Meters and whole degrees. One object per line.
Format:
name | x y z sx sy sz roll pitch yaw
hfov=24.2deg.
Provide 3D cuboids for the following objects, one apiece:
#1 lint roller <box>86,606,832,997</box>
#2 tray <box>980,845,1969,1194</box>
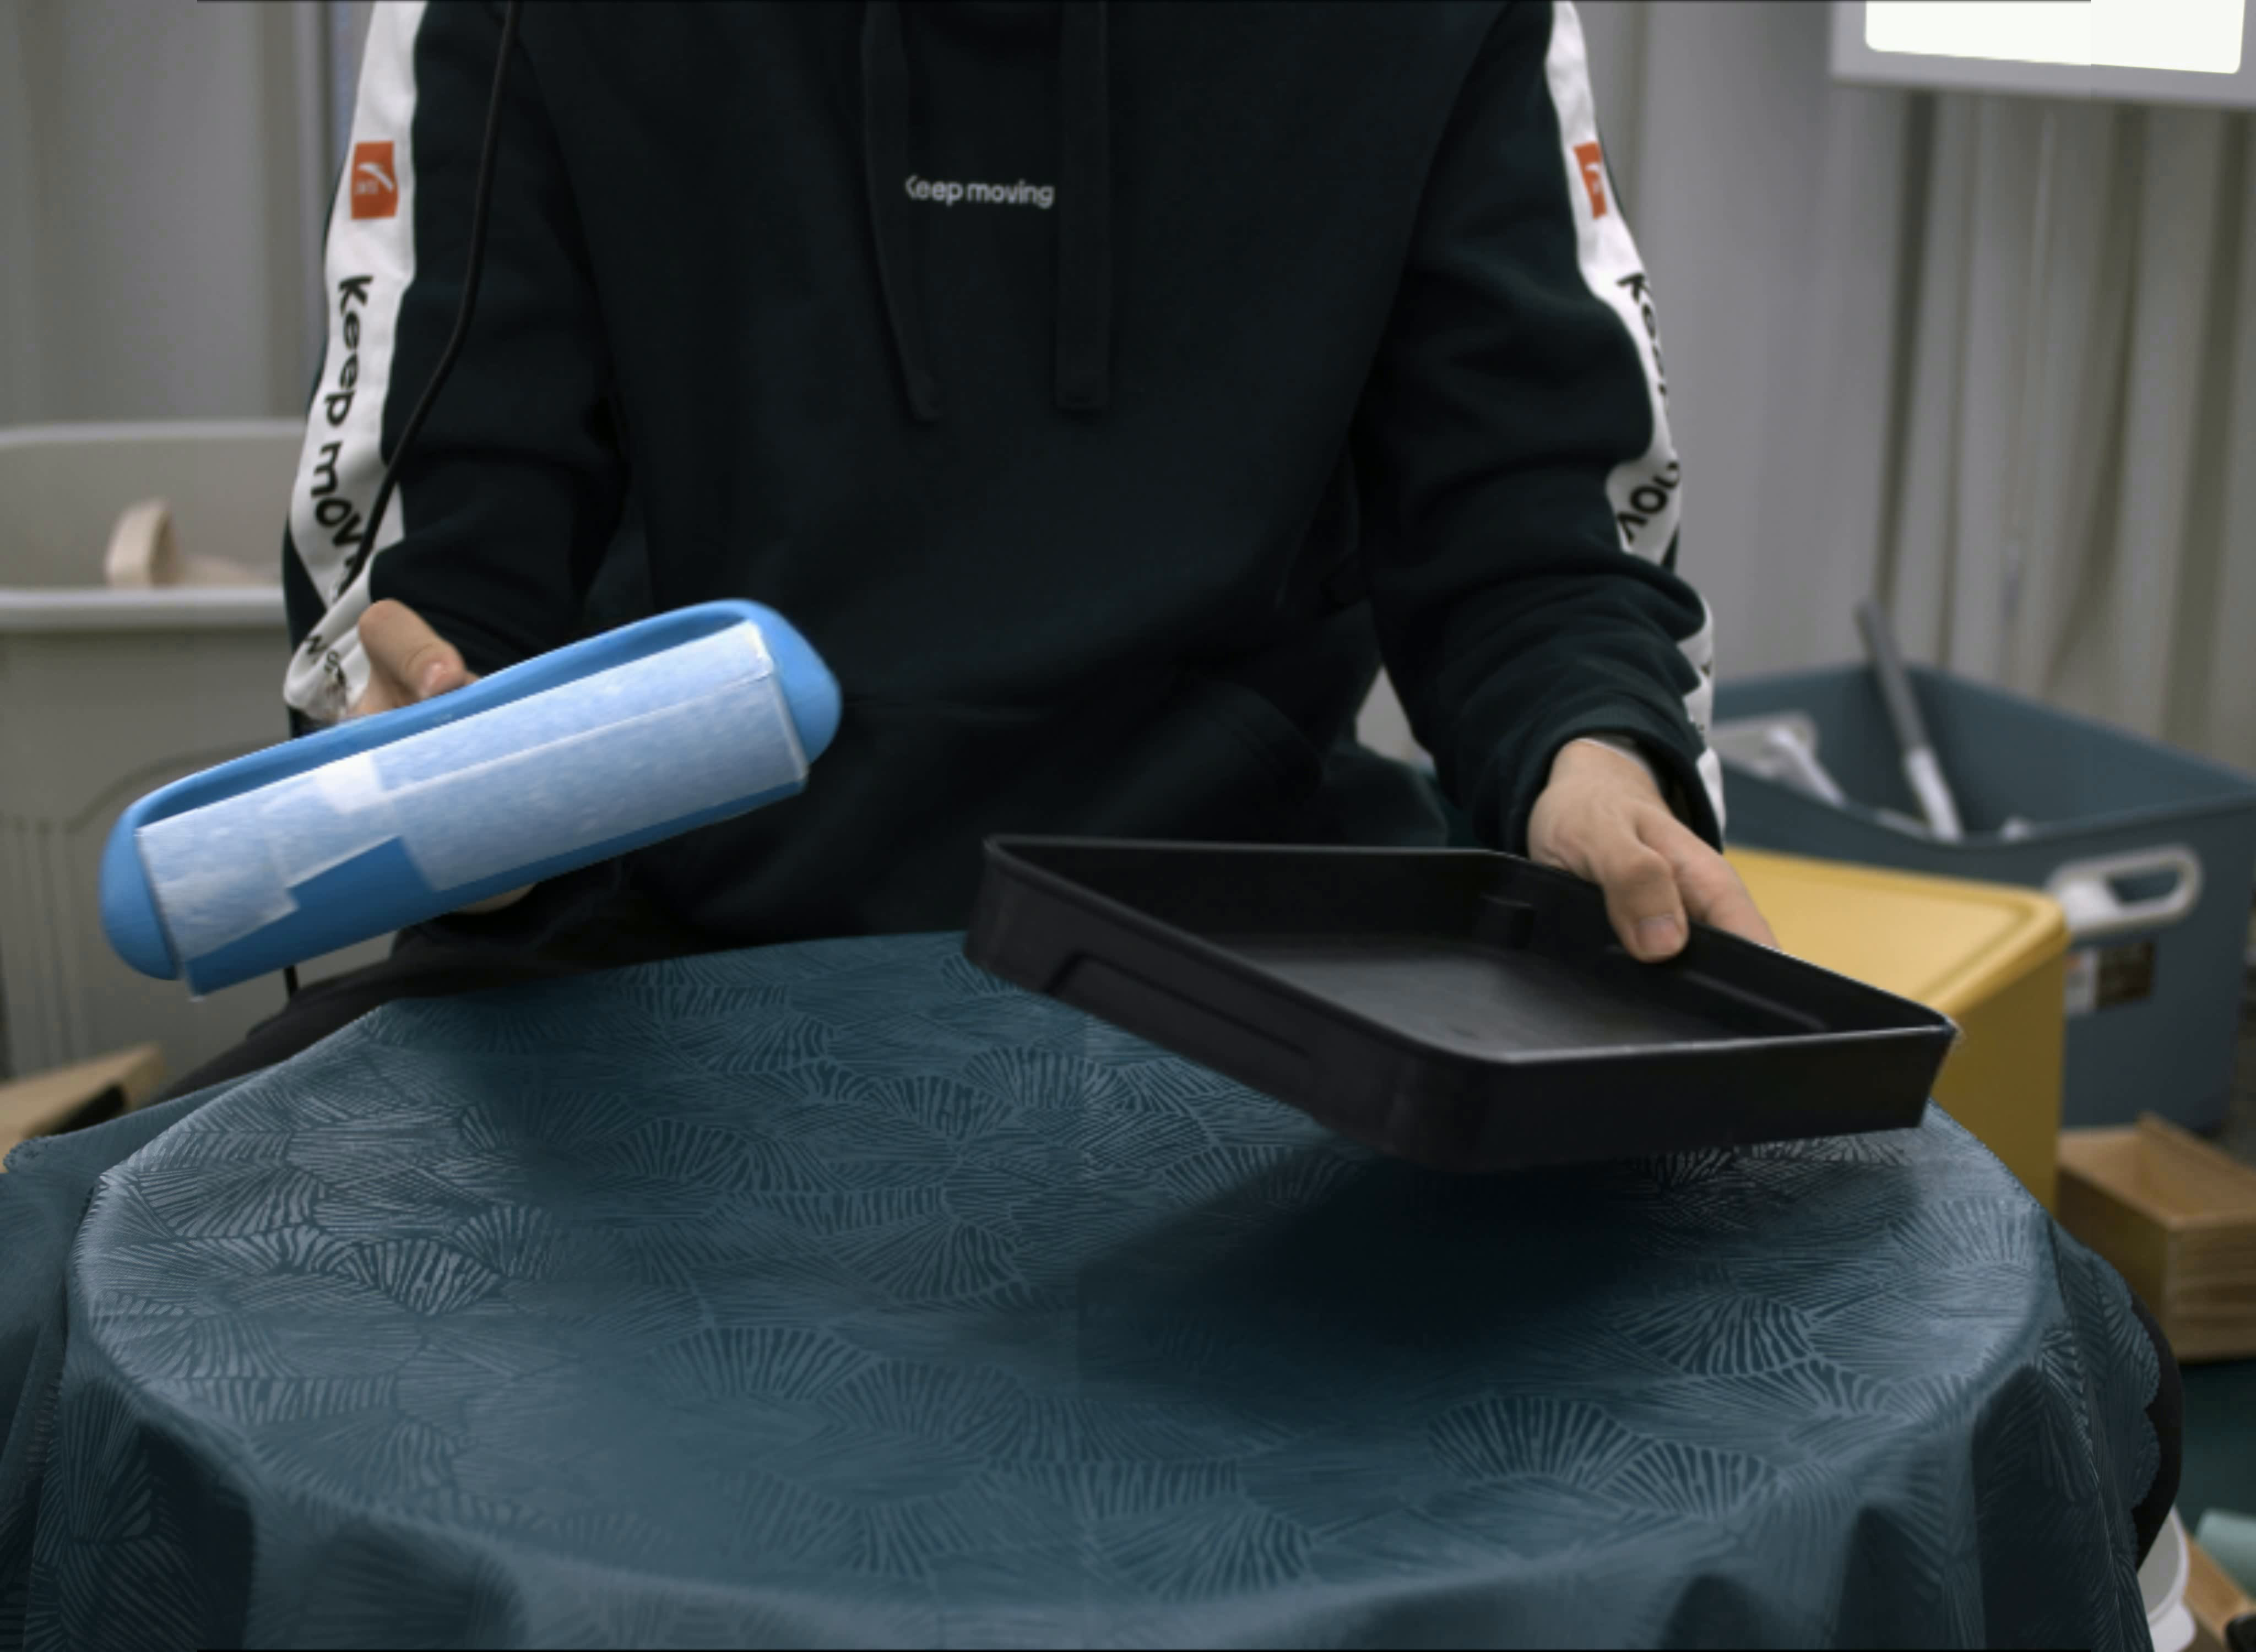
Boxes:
lint roller | -0.208 -0.009 1.620 0.229 0.068 0.179 -20 6 -9
tray | 0.110 0.053 1.578 0.182 0.037 0.320 21 13 31
